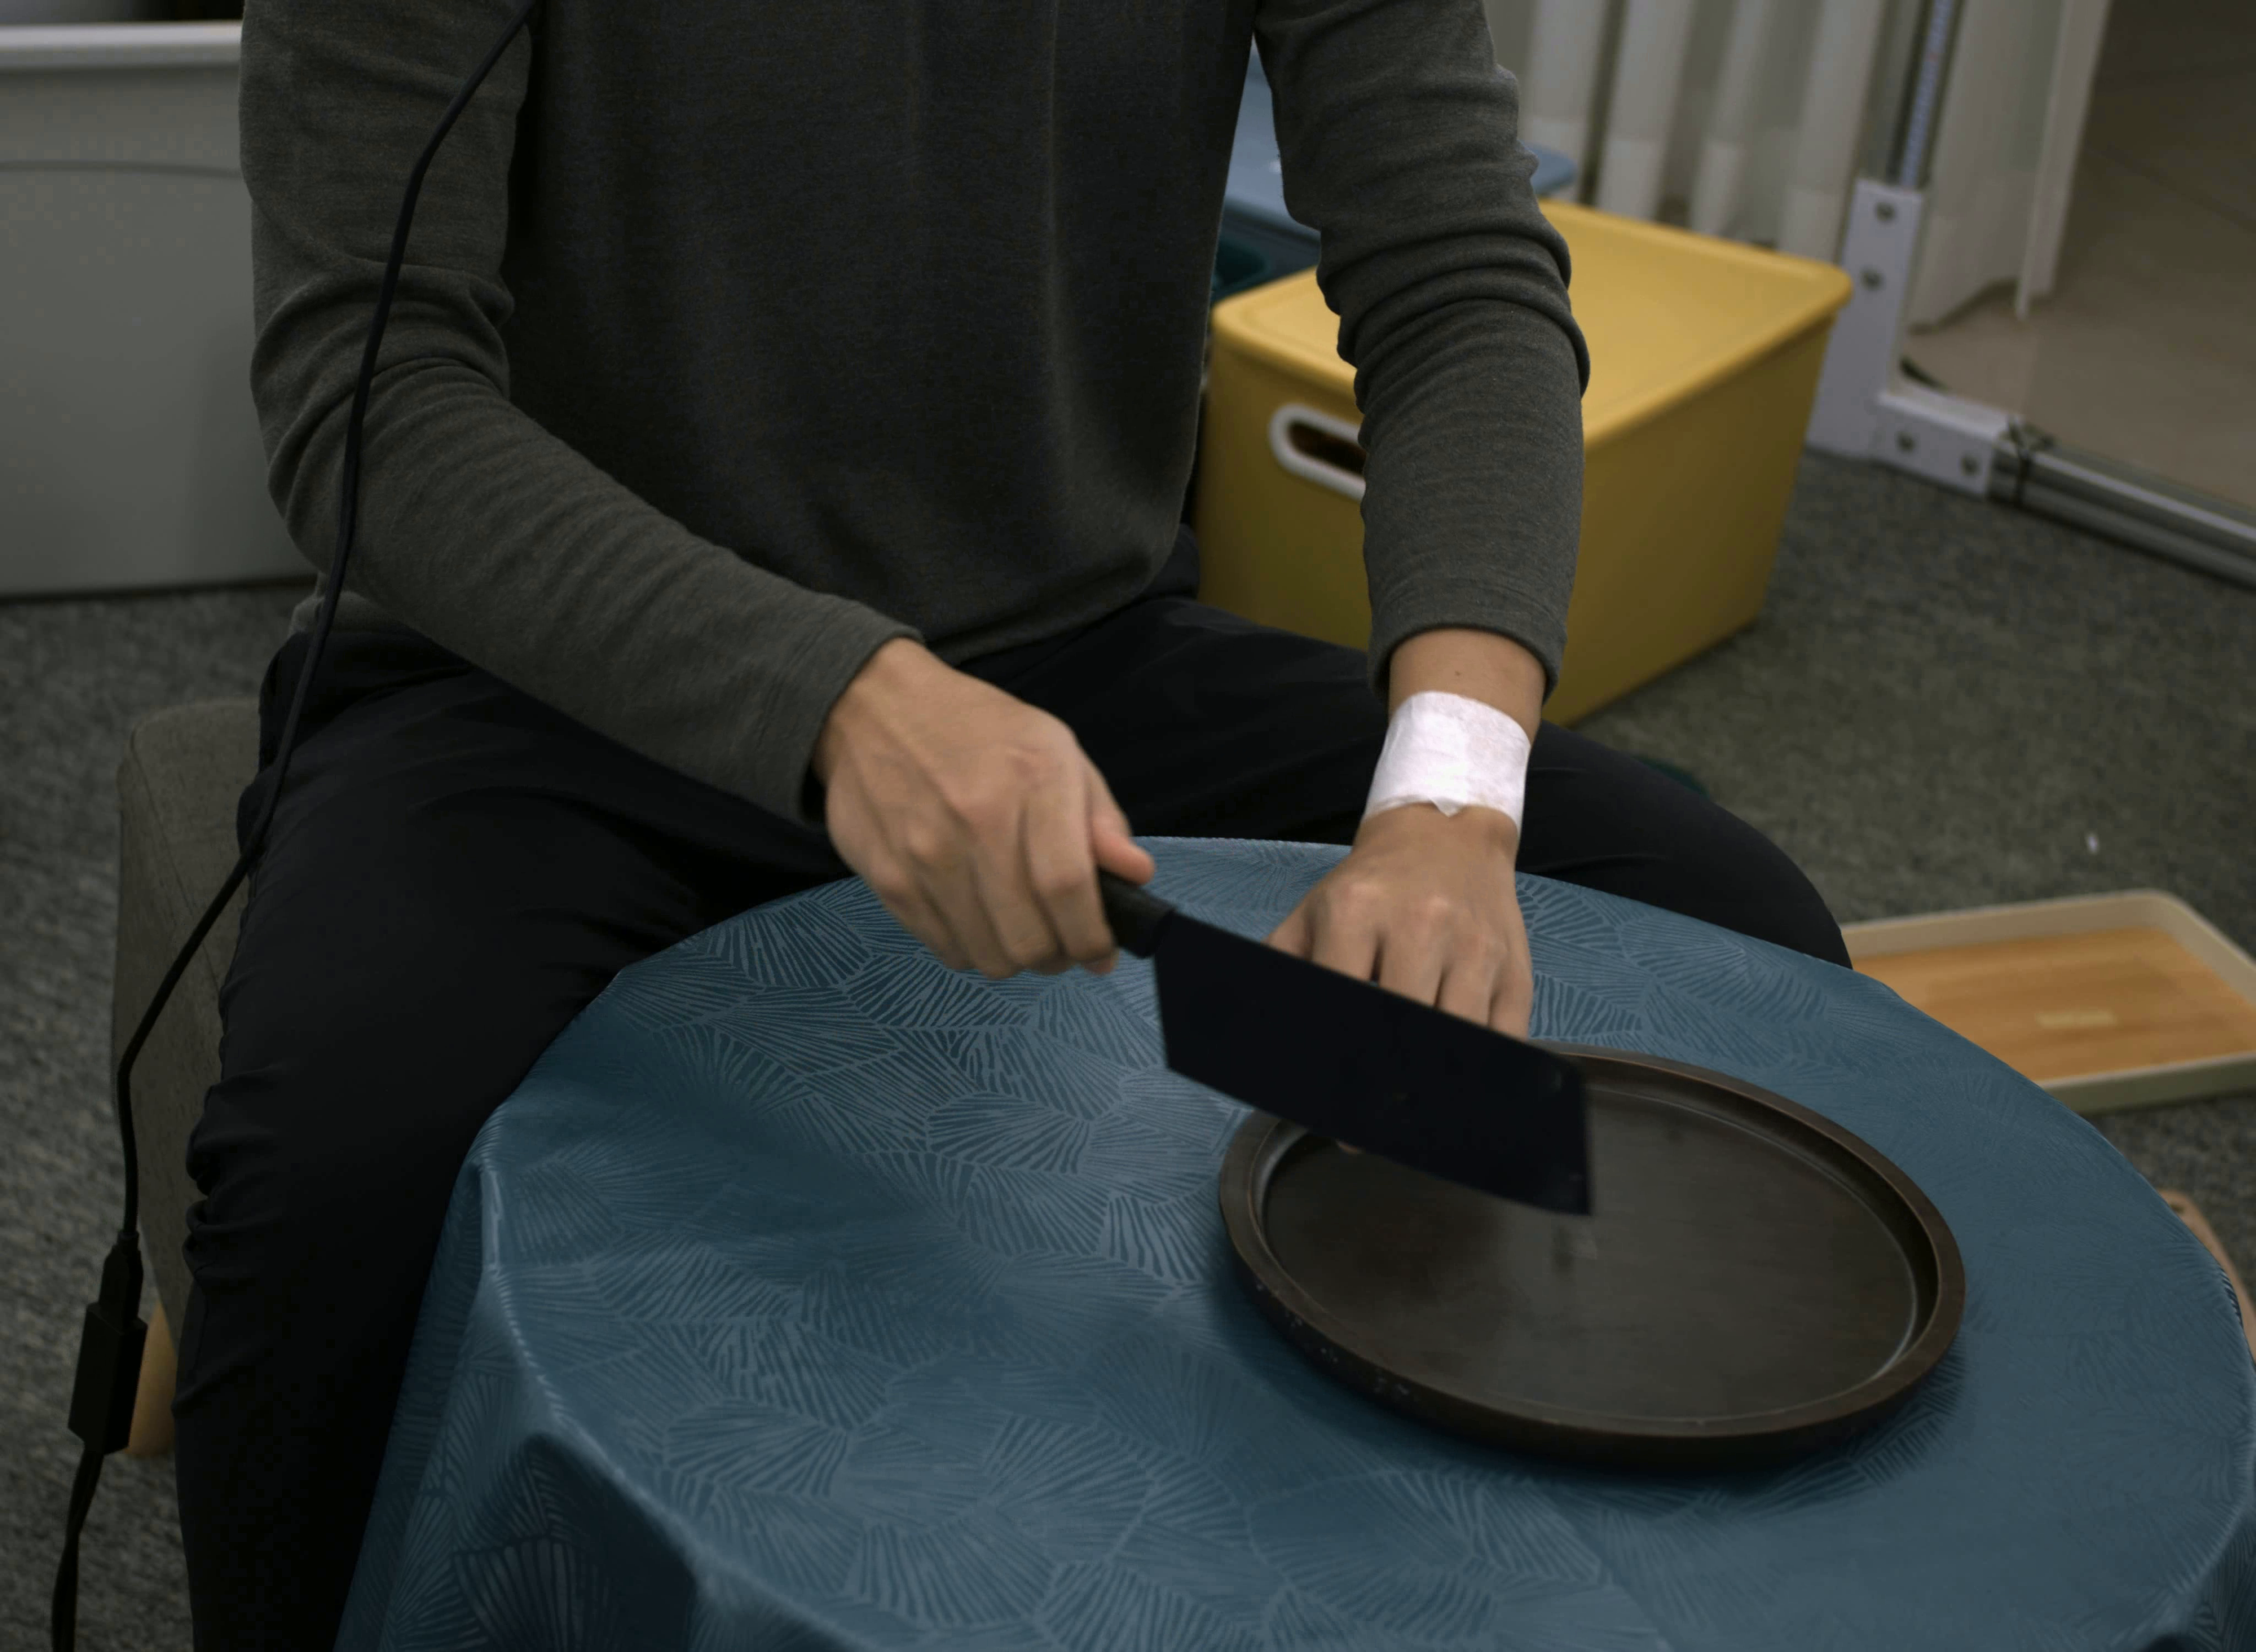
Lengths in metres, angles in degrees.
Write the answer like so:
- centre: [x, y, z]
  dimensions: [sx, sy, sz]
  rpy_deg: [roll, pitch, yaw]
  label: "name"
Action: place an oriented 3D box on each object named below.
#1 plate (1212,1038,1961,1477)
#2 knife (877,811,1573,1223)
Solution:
- centre: [0.152, 0.142, 1.779]
  dimensions: [0.254, 0.029, 0.256]
  rpy_deg: [4, 28, -3]
  label: "plate"
- centre: [0.027, 0.056, 1.718]
  dimensions: [0.304, 0.080, 0.021]
  rpy_deg: [24, 40, 38]
  label: "knife"
